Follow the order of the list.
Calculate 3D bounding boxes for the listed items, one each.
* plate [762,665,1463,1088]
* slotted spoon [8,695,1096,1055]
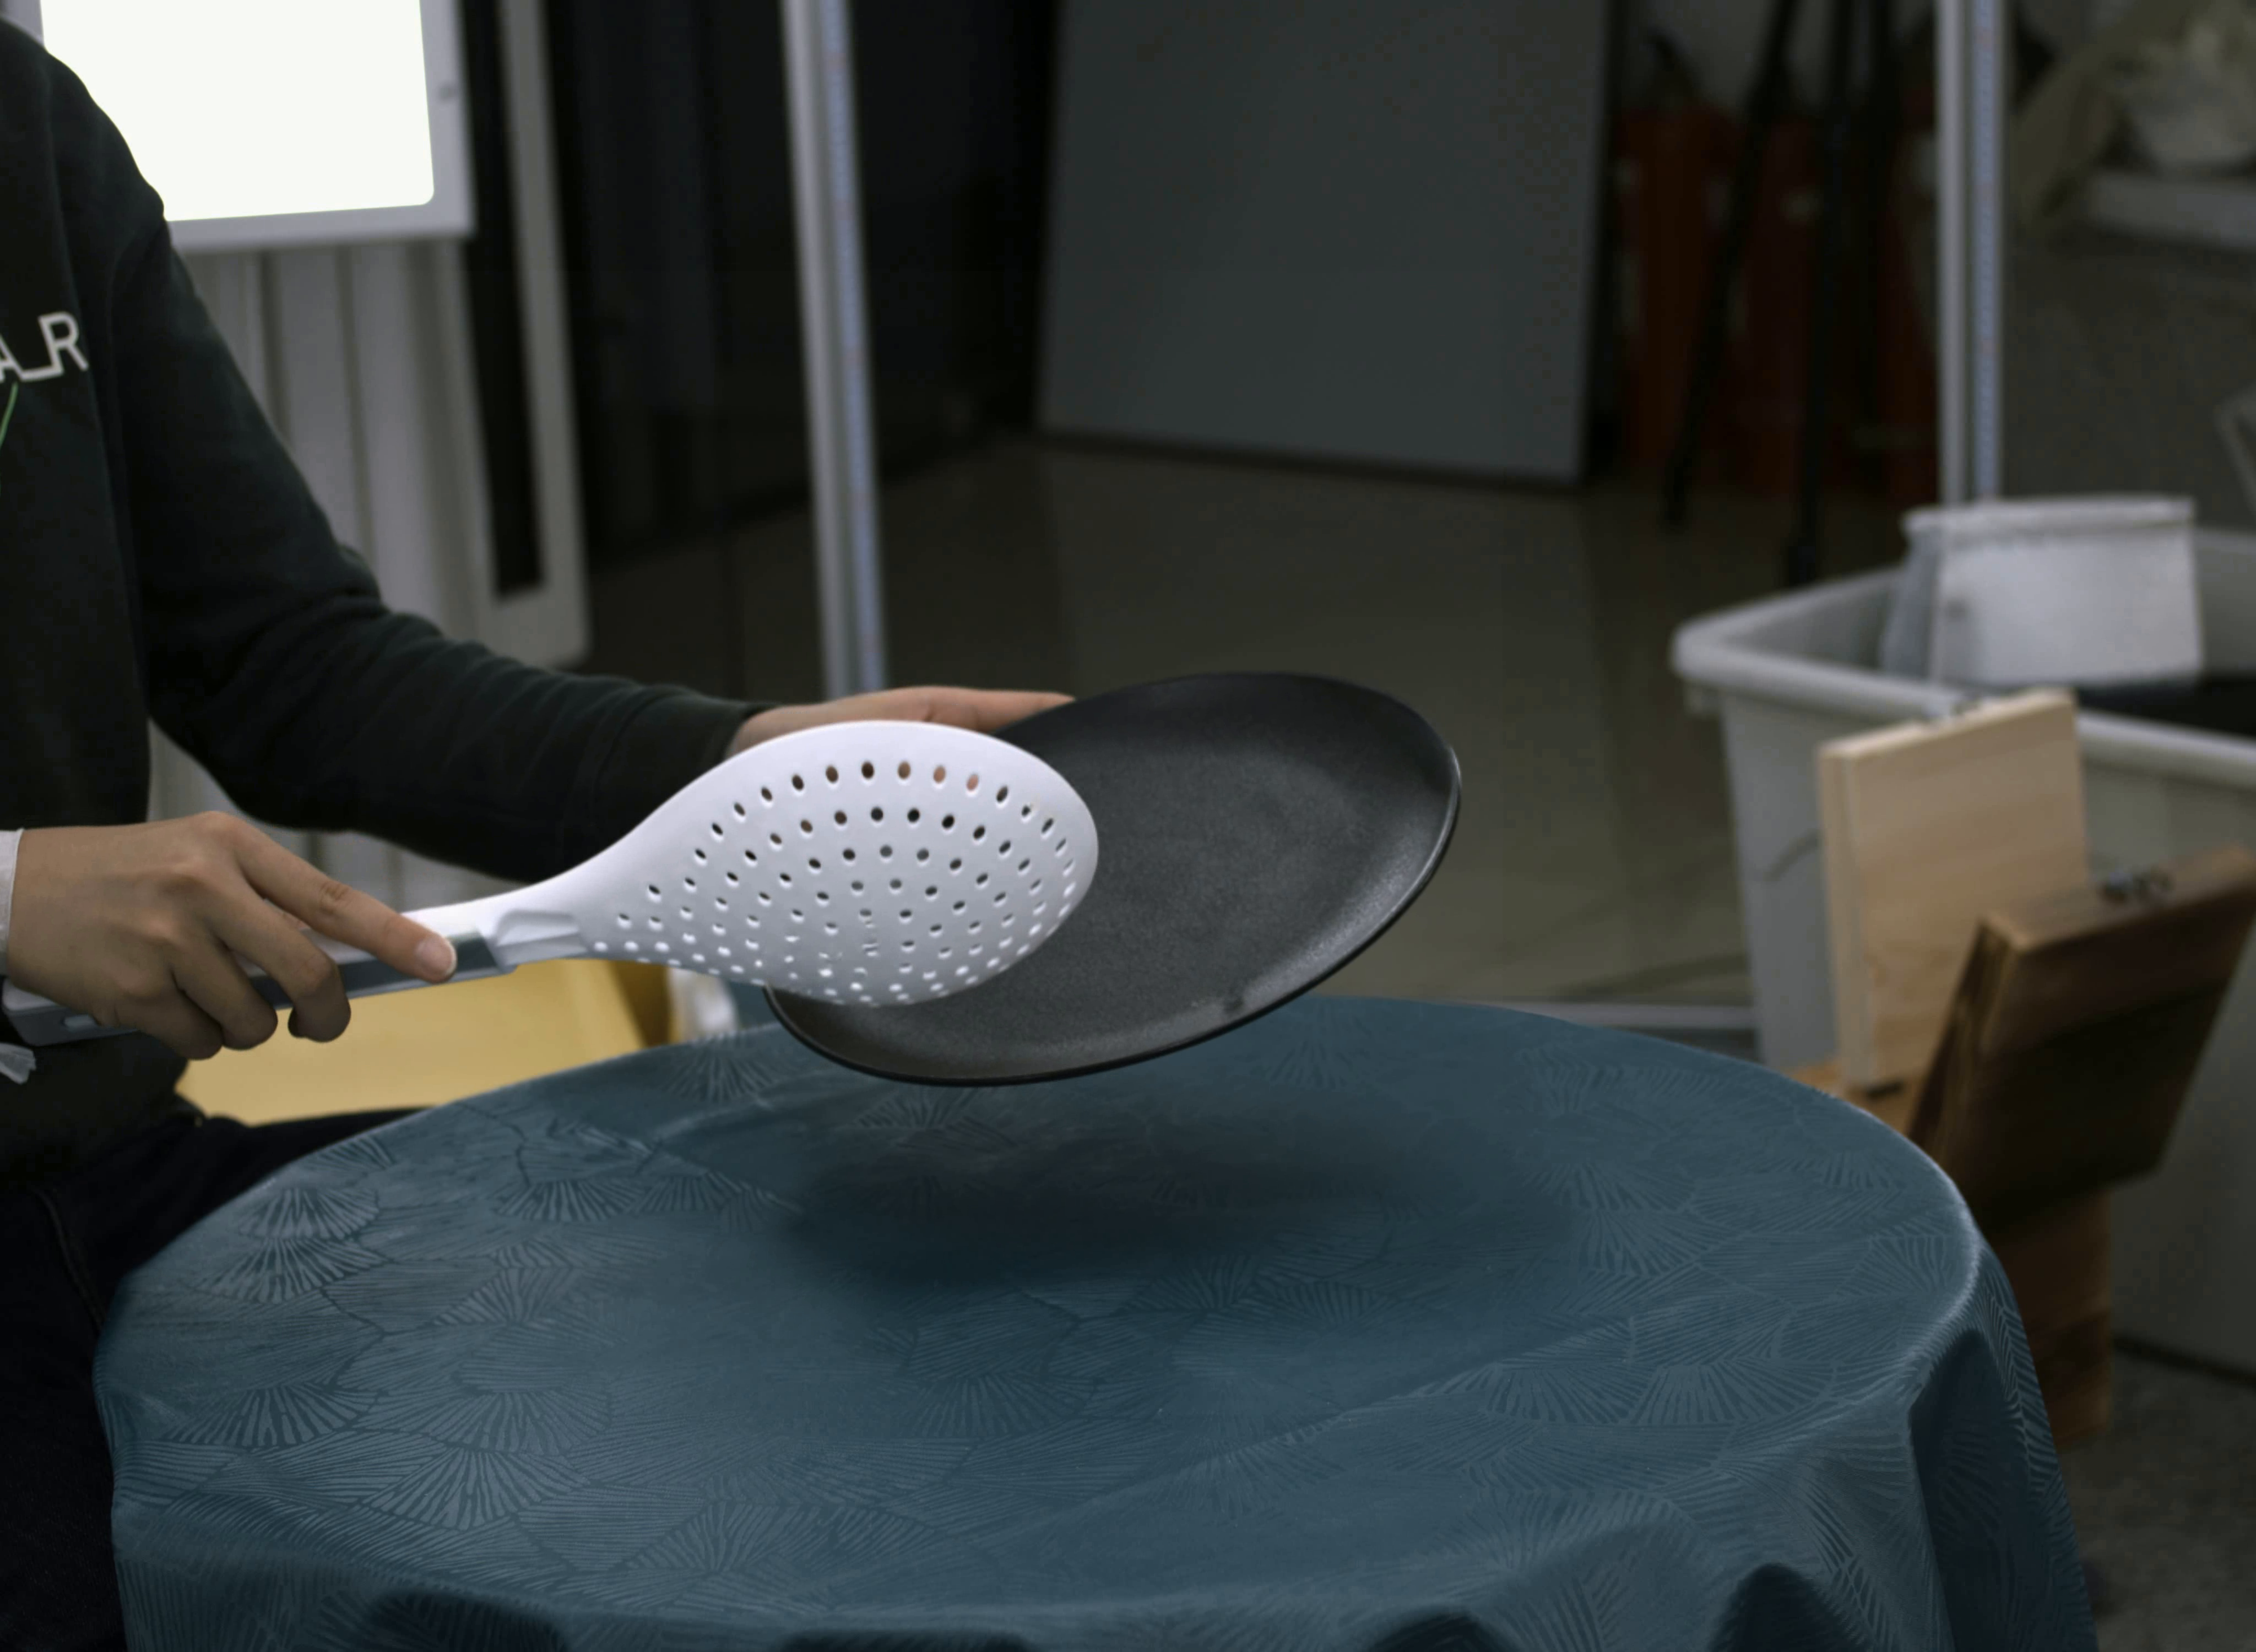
[{"bbox_3d":[-0.004,0.021,1.781,0.242,0.023,0.245,-16,29,8],"label":"plate"},{"bbox_3d":[-0.180,0.029,1.678,0.347,0.135,0.046,-7,51,12],"label":"slotted spoon"}]
